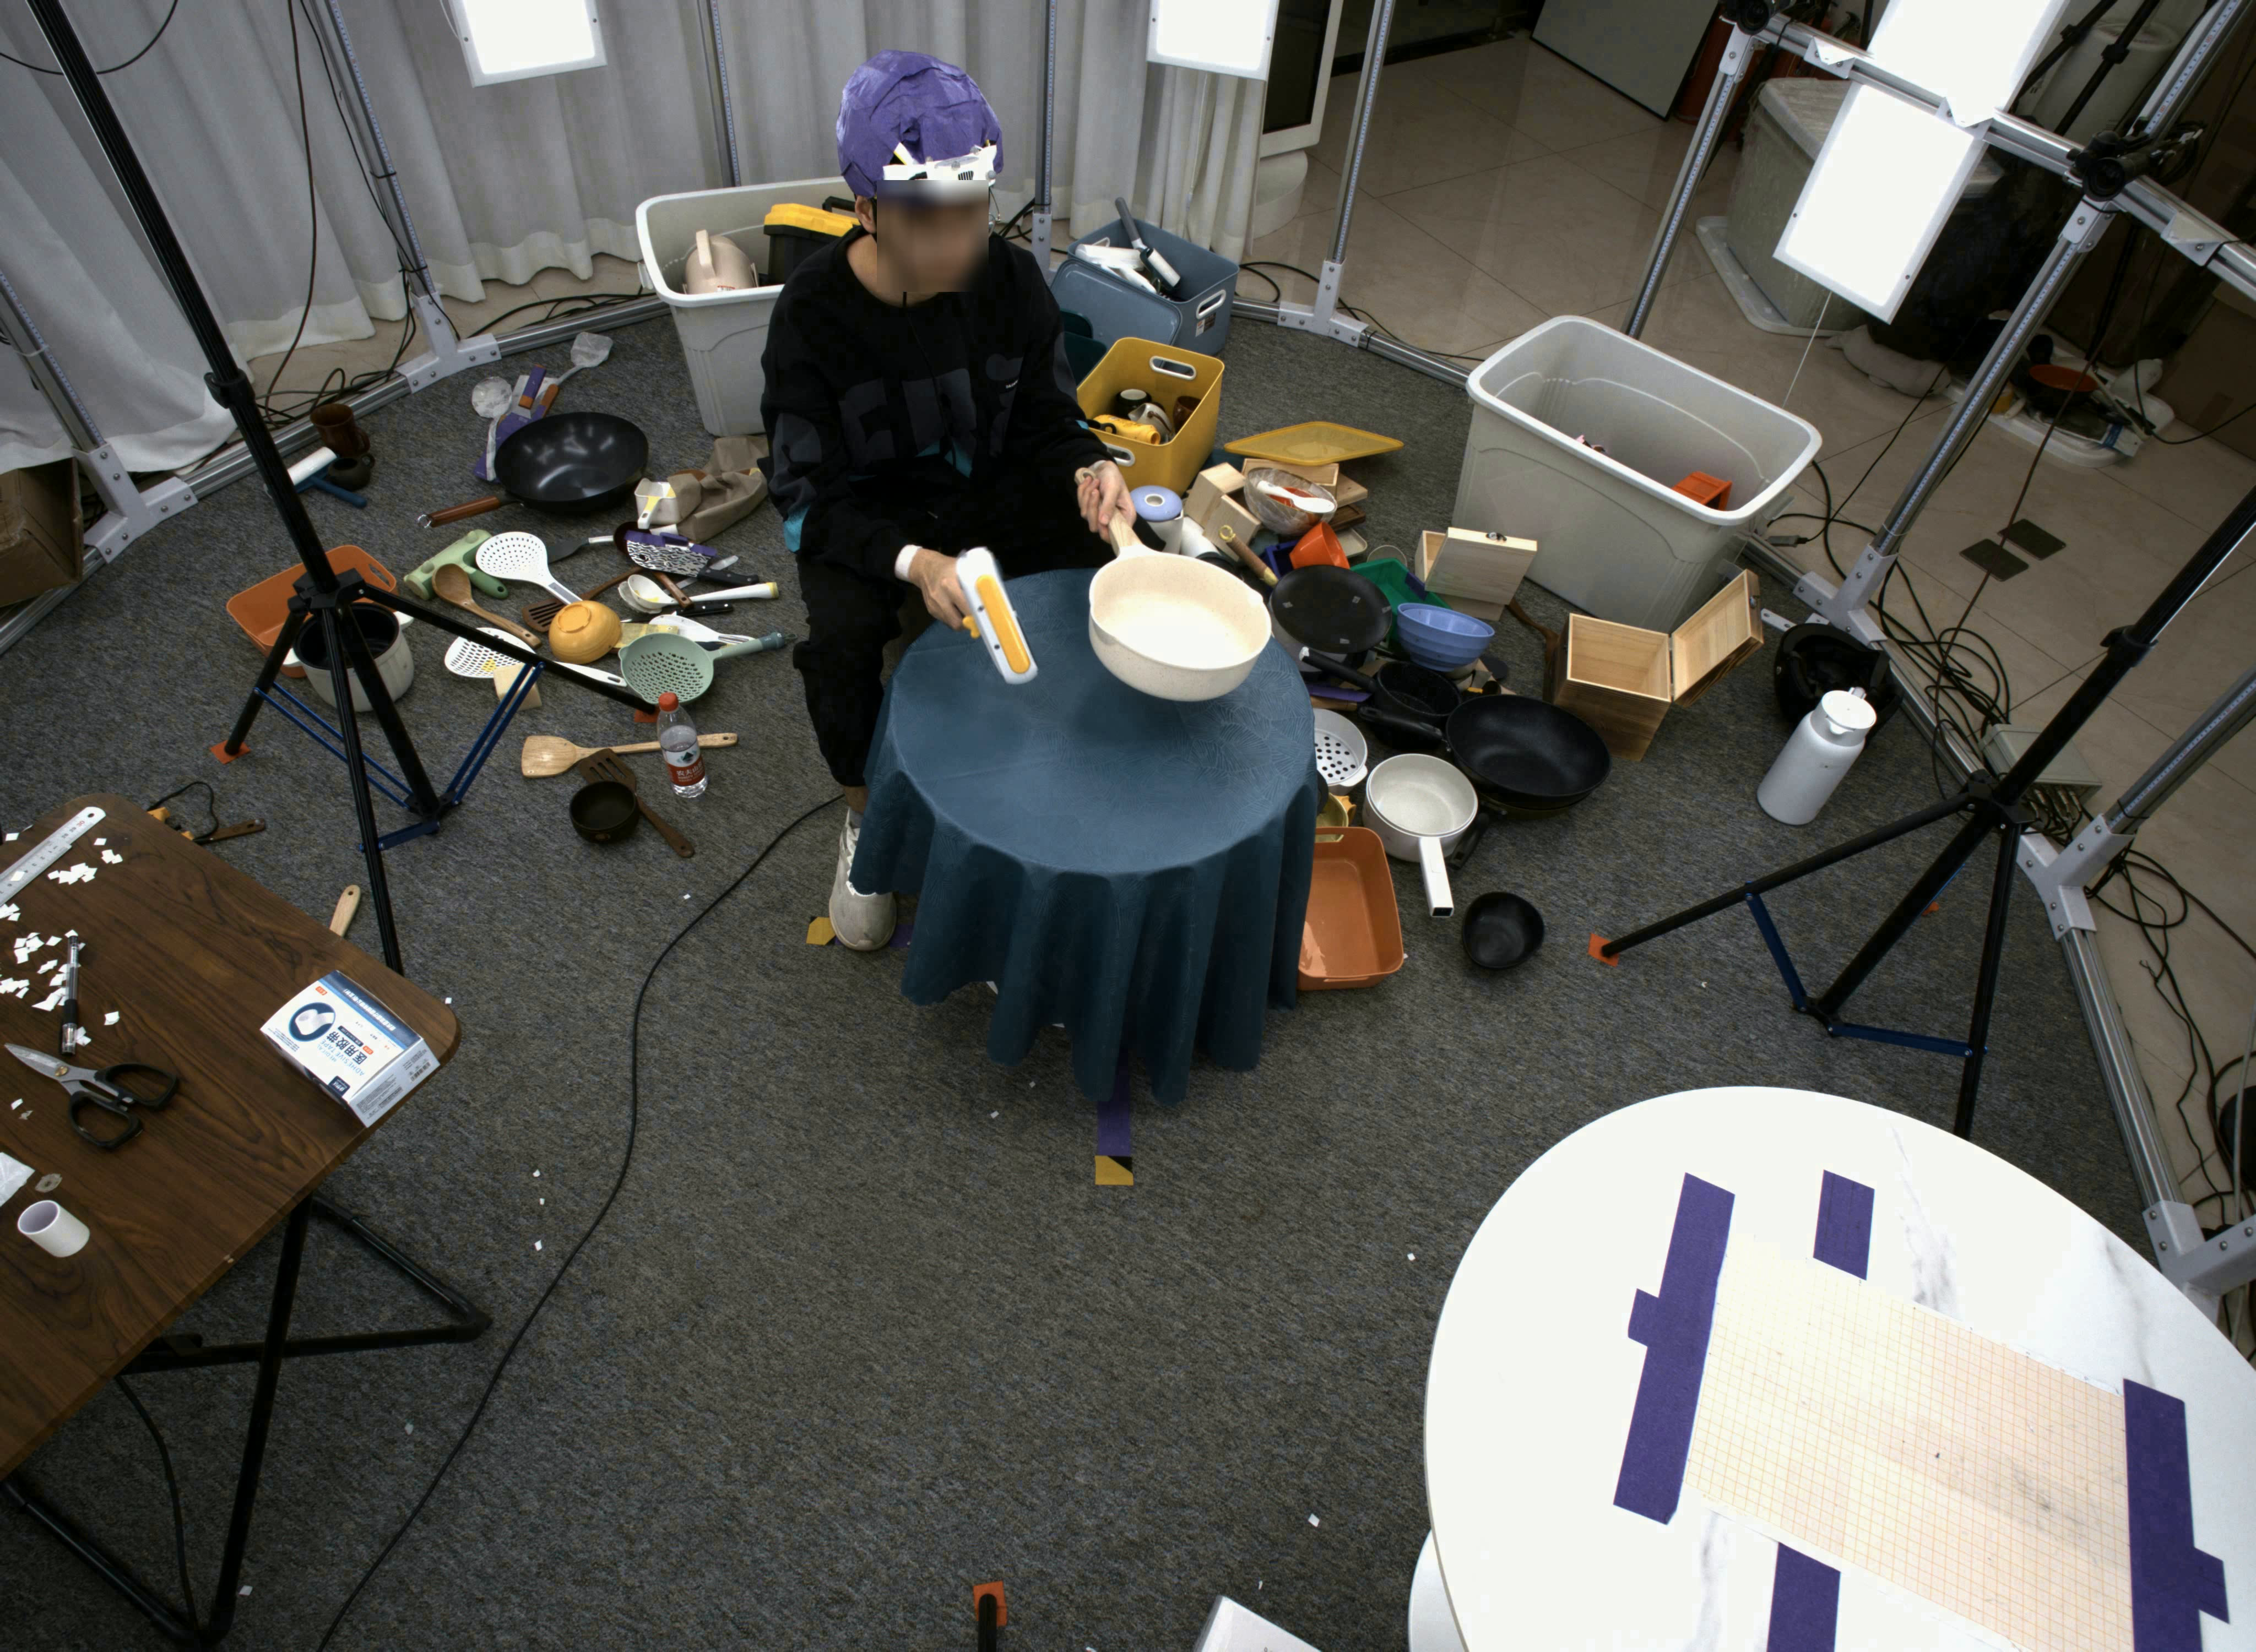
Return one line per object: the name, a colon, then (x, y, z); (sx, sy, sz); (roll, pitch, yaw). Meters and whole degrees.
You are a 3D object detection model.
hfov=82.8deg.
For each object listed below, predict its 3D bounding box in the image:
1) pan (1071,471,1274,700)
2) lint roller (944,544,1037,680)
pan: (0.025, -0.337, 1.803); (0.263, 0.099, 0.444); (-15, 51, -25)
lint roller: (-0.203, -0.297, 1.754); (0.074, 0.189, 0.196); (-34, 27, -4)
